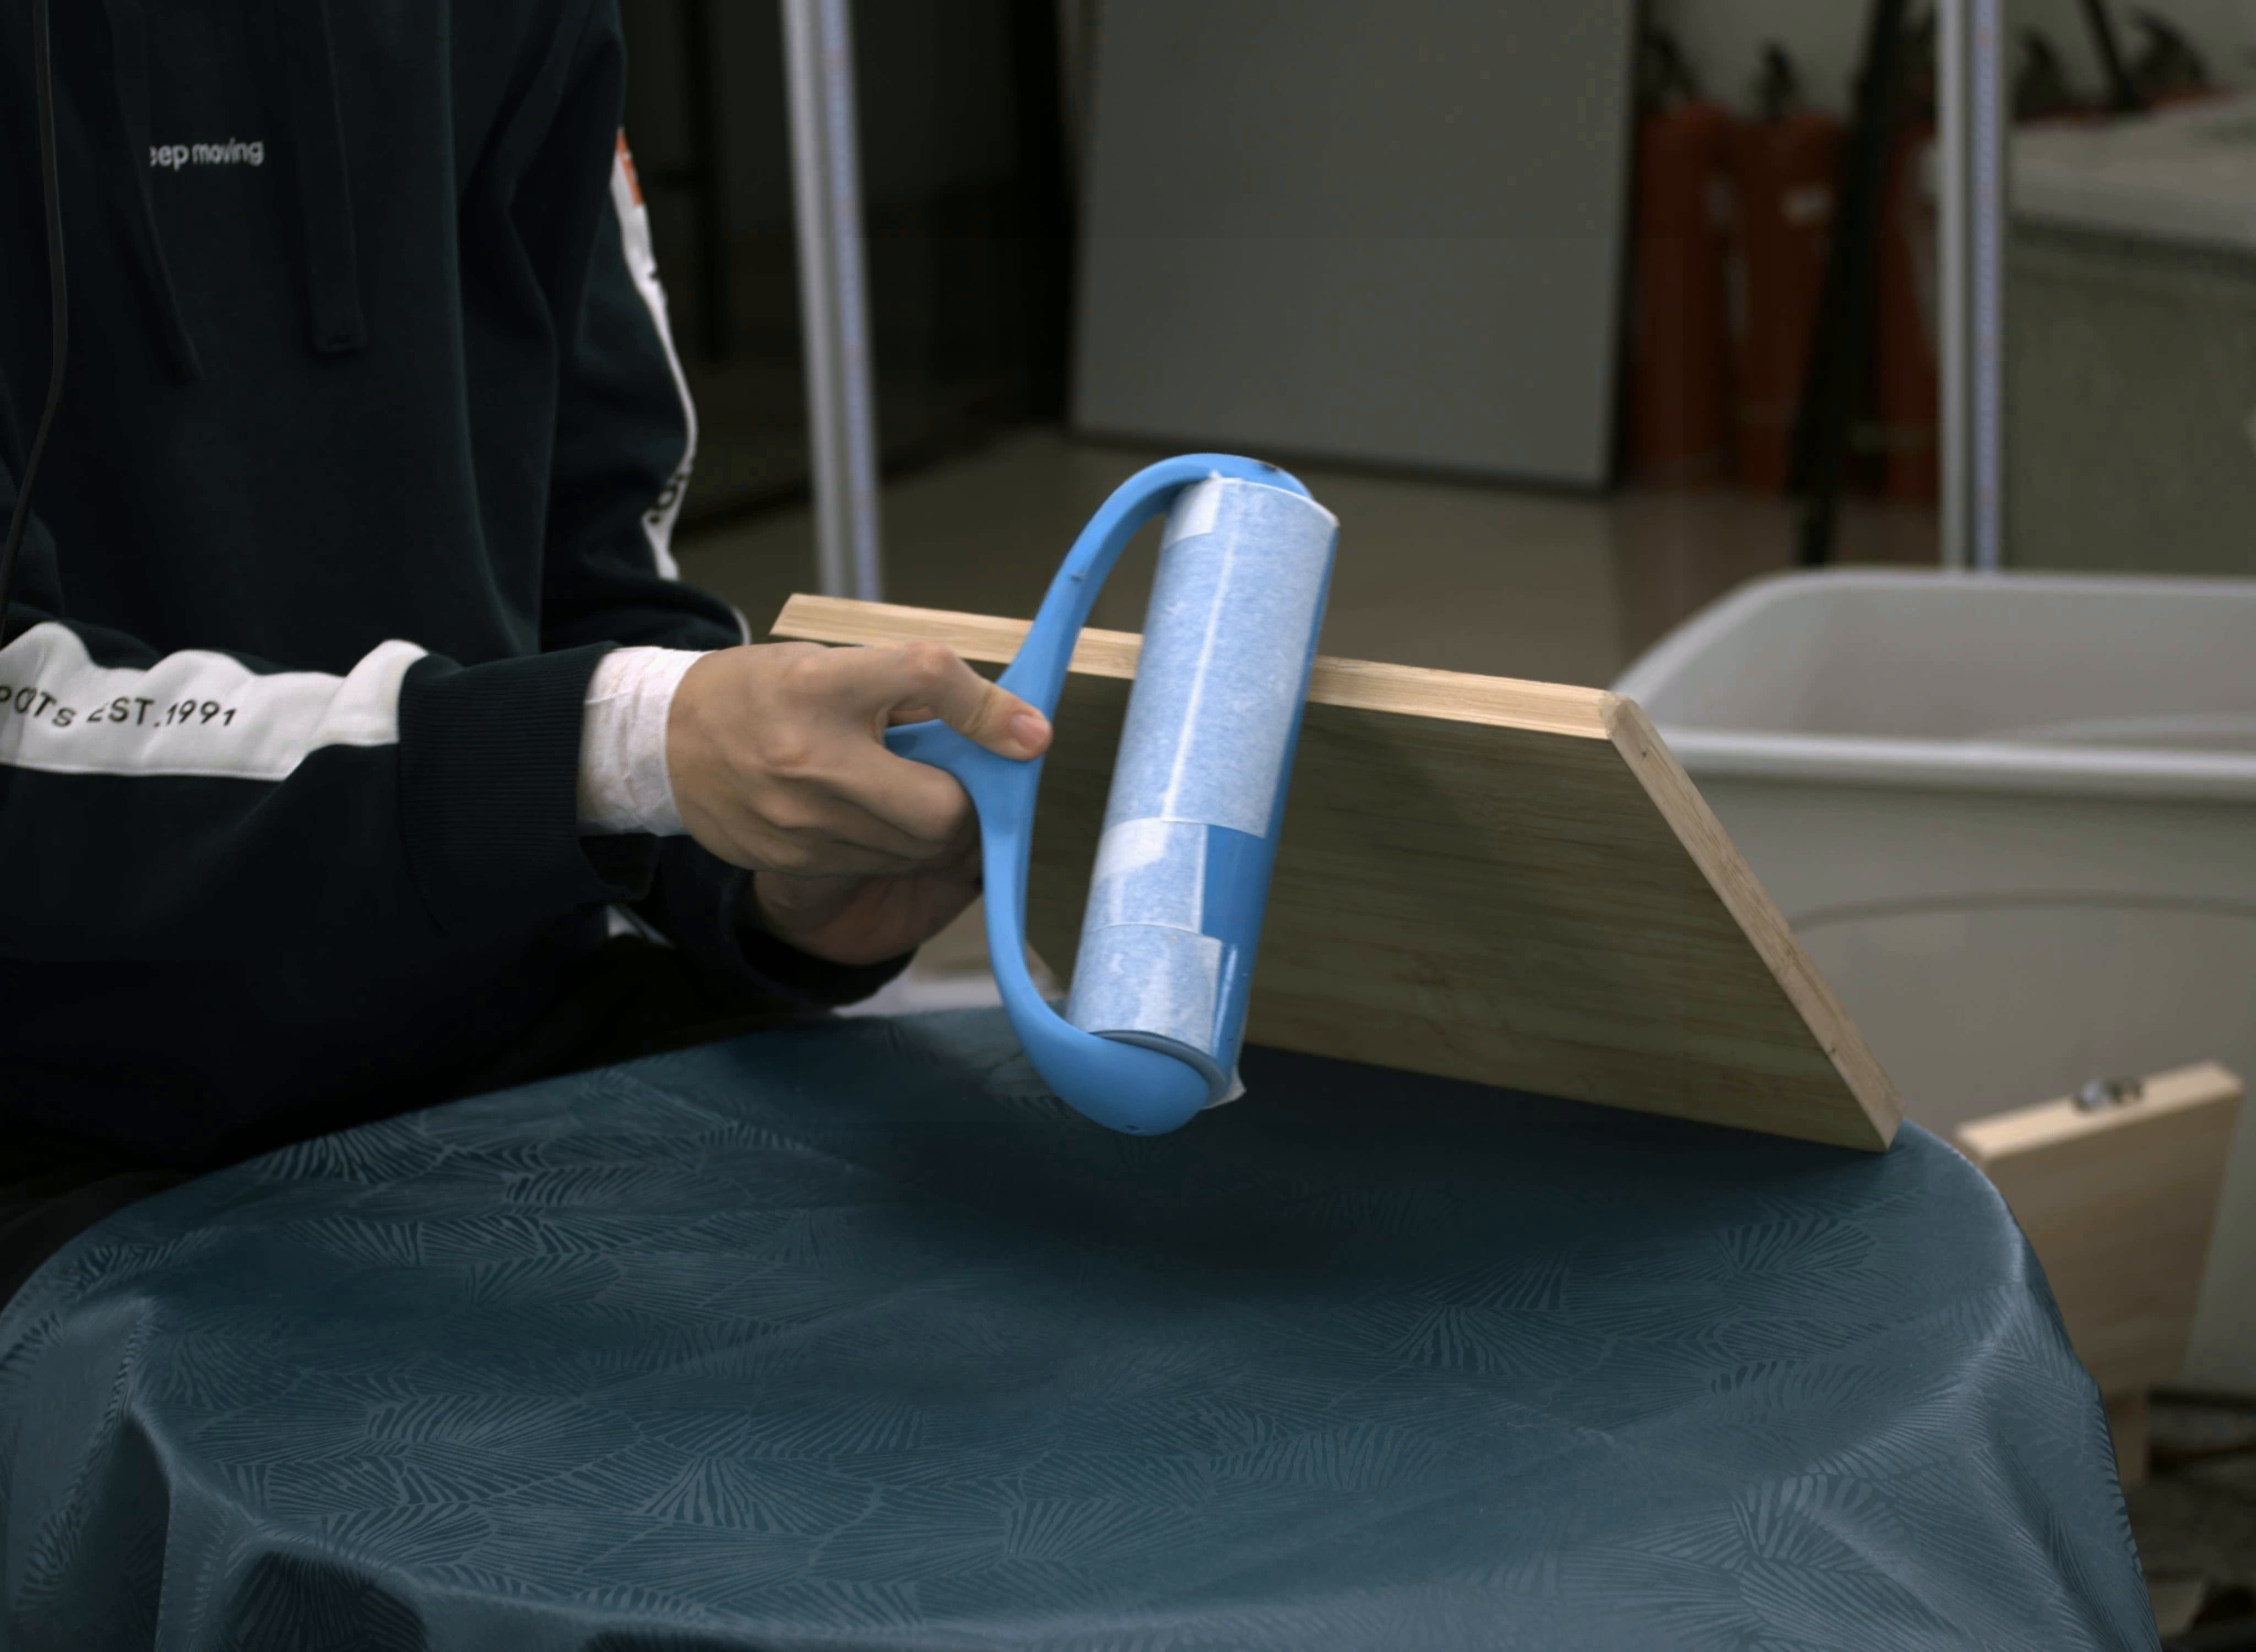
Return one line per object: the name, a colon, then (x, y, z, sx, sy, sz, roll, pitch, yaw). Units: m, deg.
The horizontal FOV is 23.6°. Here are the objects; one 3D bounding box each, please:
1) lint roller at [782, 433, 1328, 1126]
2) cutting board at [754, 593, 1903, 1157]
lint roller: (-0.035, -0.013, 1.659, 0.180, 0.231, 0.067, -3, -29, 21)
cutting board: (0.064, 0.014, 1.789, 0.351, 0.248, 0.023, 8, 59, 38)
